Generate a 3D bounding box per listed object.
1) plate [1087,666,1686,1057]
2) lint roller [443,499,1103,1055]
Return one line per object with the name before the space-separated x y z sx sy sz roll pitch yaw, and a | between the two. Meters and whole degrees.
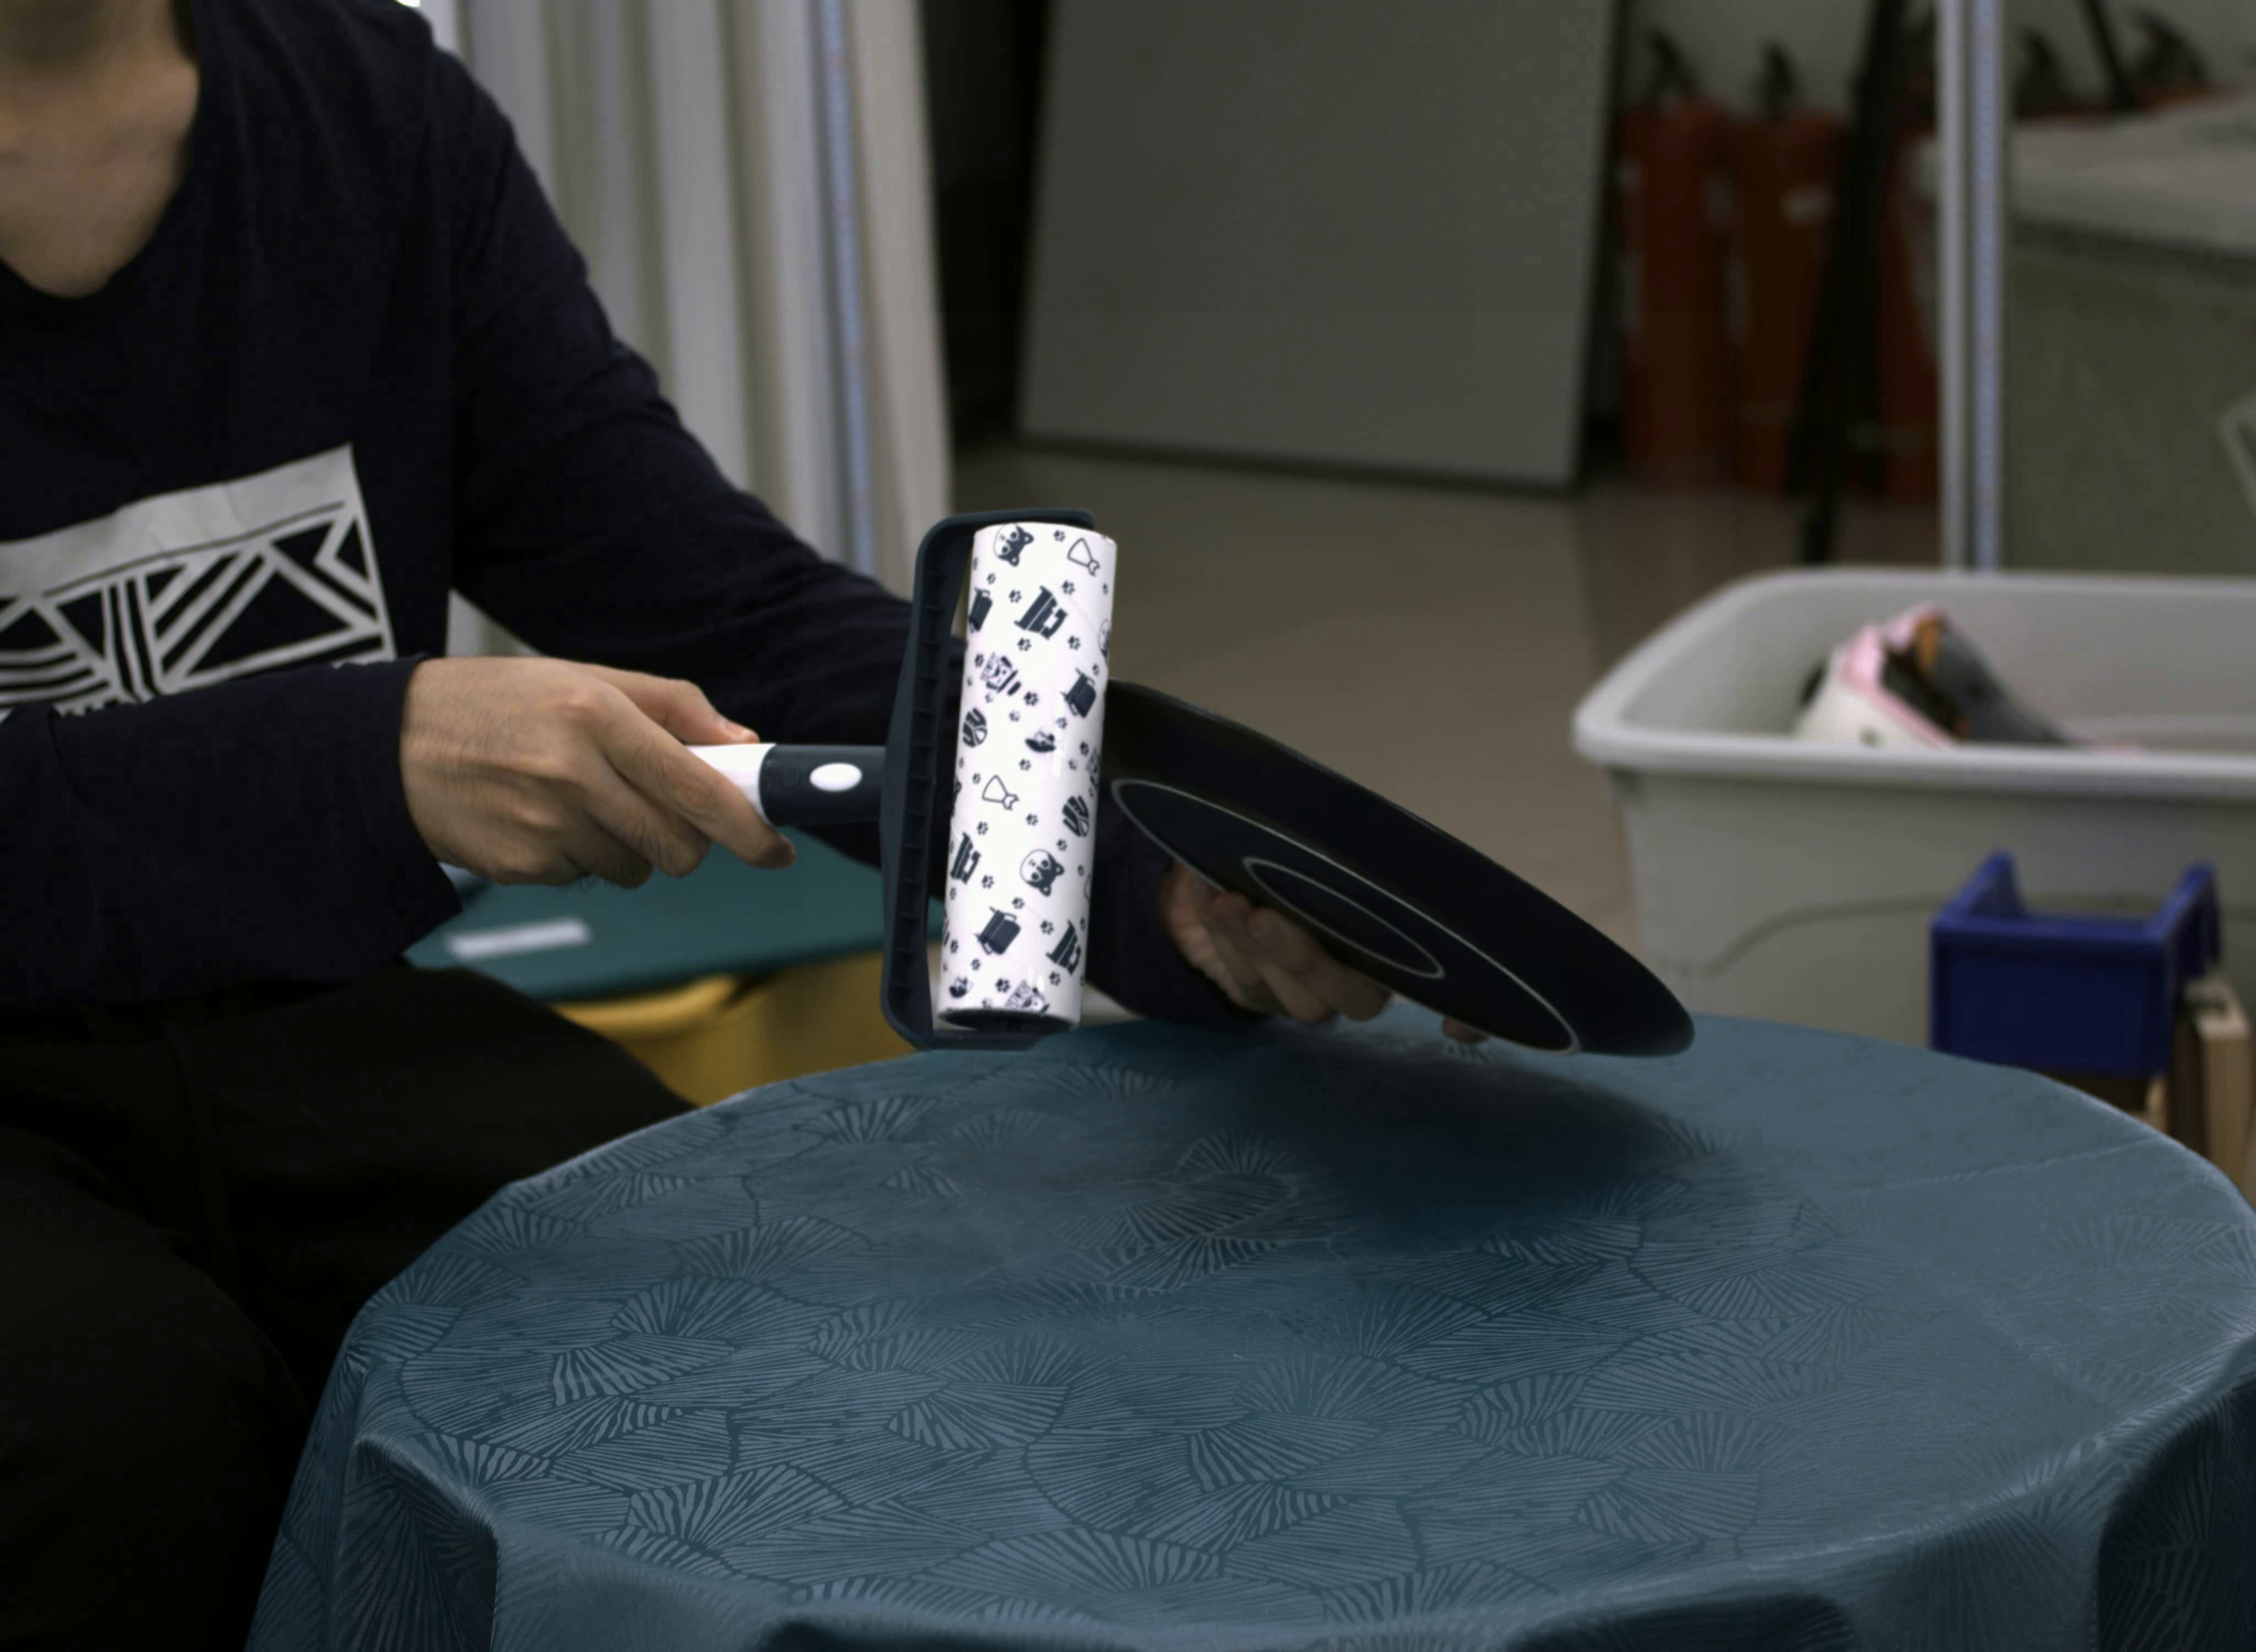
plate | 0.075 0.021 1.789 0.243 0.023 0.244 30 -9 4
lint roller | -0.124 -0.011 1.772 0.247 0.178 0.049 -3 -12 27
